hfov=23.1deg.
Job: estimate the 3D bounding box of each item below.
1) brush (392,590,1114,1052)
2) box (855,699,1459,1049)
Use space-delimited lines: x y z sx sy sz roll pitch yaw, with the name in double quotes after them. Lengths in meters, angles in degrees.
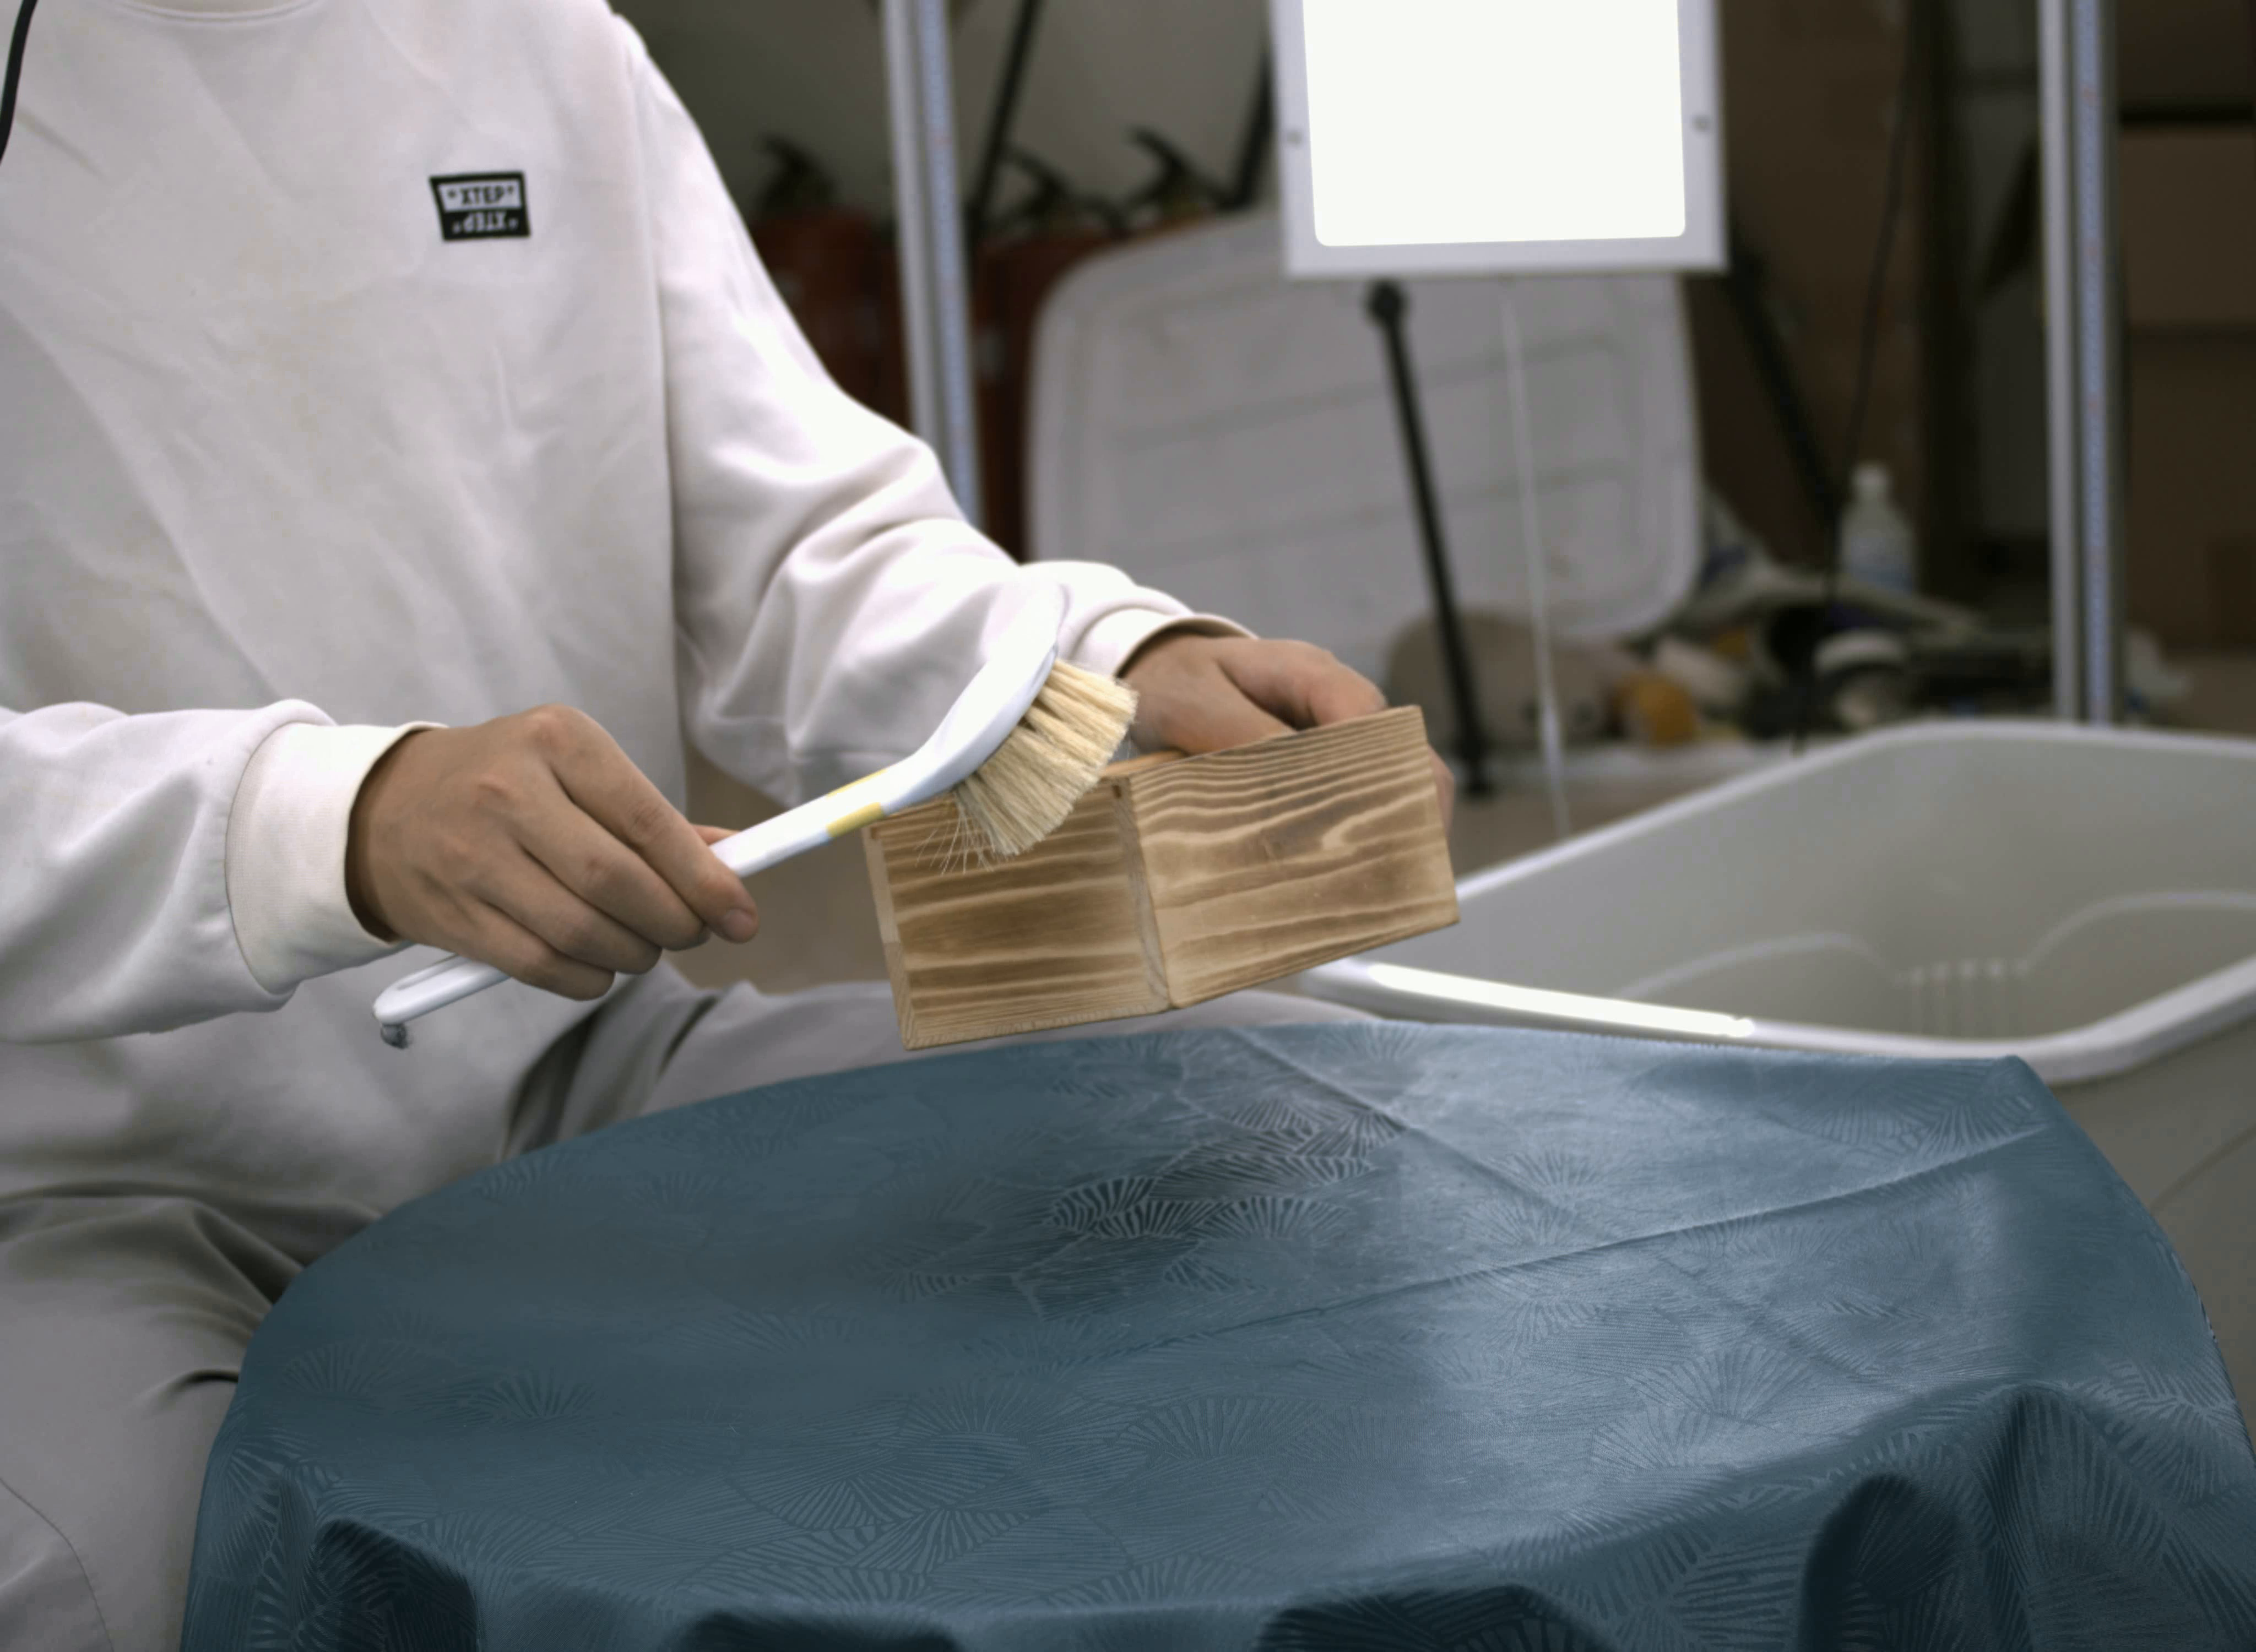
-0.115 0.017 1.751 0.269 0.056 0.068 -34 4 15 "brush"
0.014 0.015 1.884 0.110 0.080 0.206 -11 1 32 "box"
